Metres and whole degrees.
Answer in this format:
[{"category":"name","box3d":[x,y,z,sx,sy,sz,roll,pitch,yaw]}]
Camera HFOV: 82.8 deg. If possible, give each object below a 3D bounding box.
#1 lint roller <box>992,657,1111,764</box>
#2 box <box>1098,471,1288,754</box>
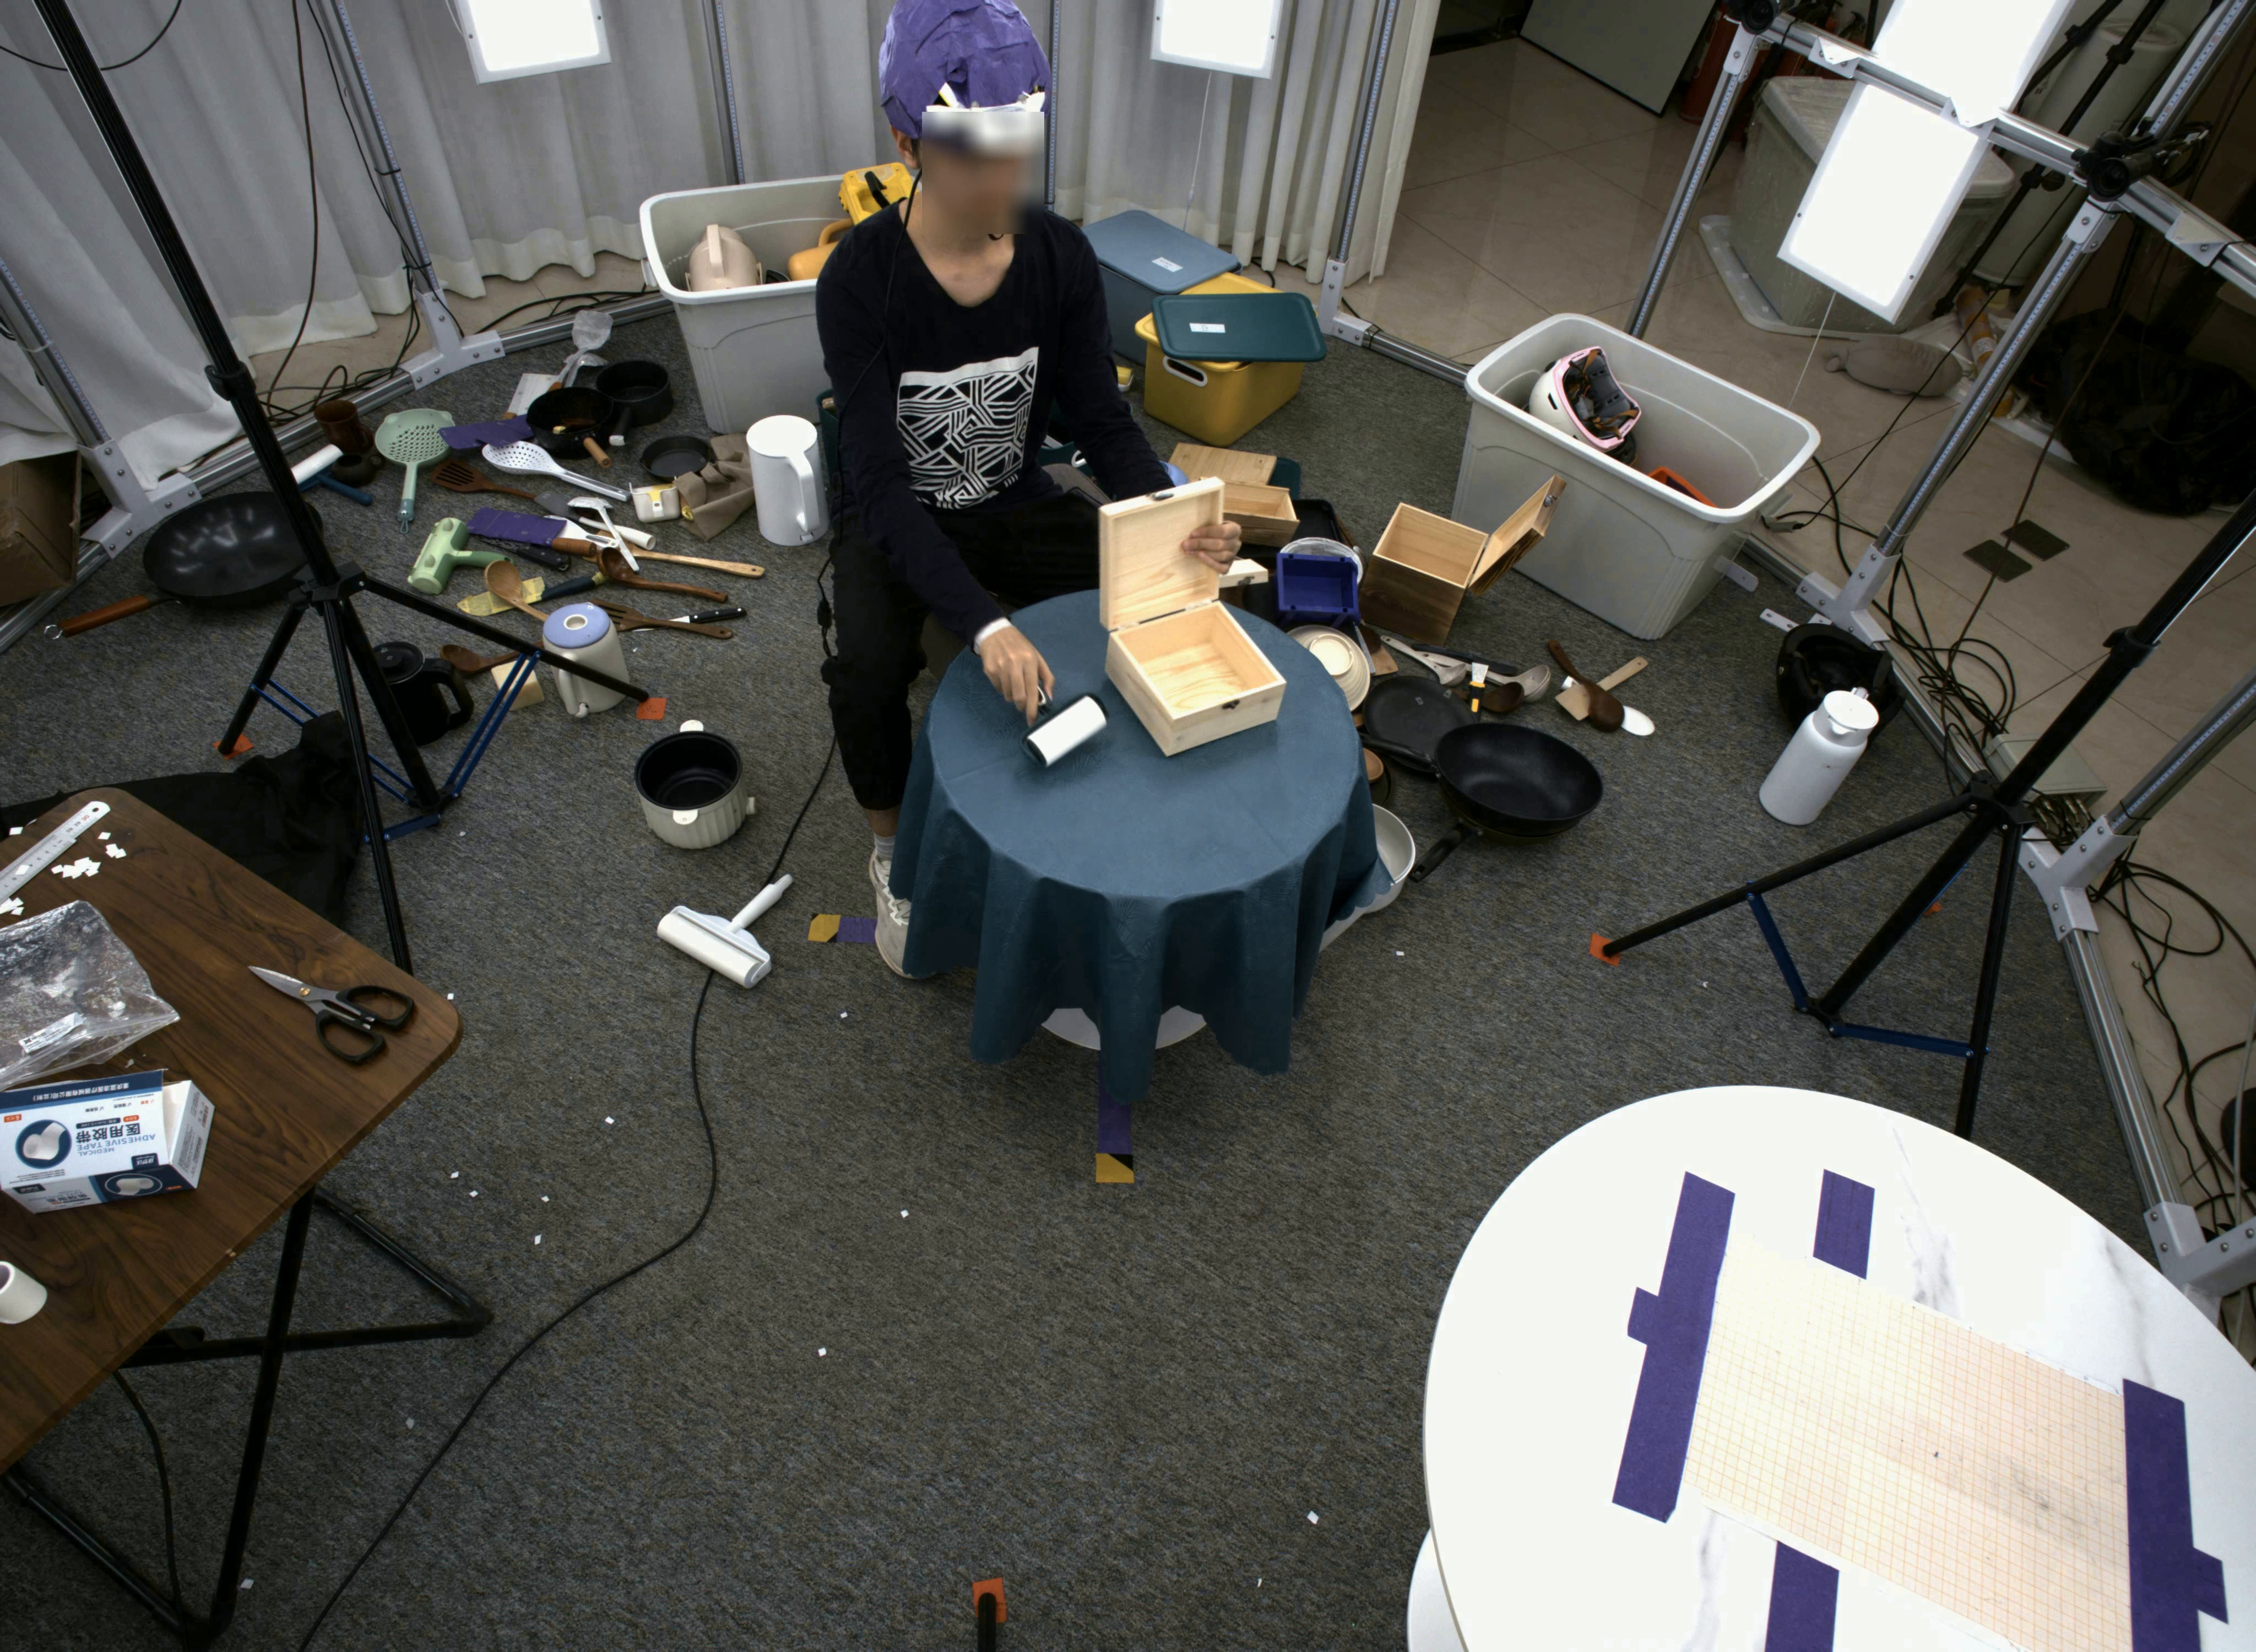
[{"category":"lint roller","box3d":[-0.127,-0.178,1.734,0.135,0.047,0.183,-37,68,-14]},{"category":"box","box3d":[0.089,-0.290,1.750,0.182,0.247,0.270,-20,56,-23]}]
